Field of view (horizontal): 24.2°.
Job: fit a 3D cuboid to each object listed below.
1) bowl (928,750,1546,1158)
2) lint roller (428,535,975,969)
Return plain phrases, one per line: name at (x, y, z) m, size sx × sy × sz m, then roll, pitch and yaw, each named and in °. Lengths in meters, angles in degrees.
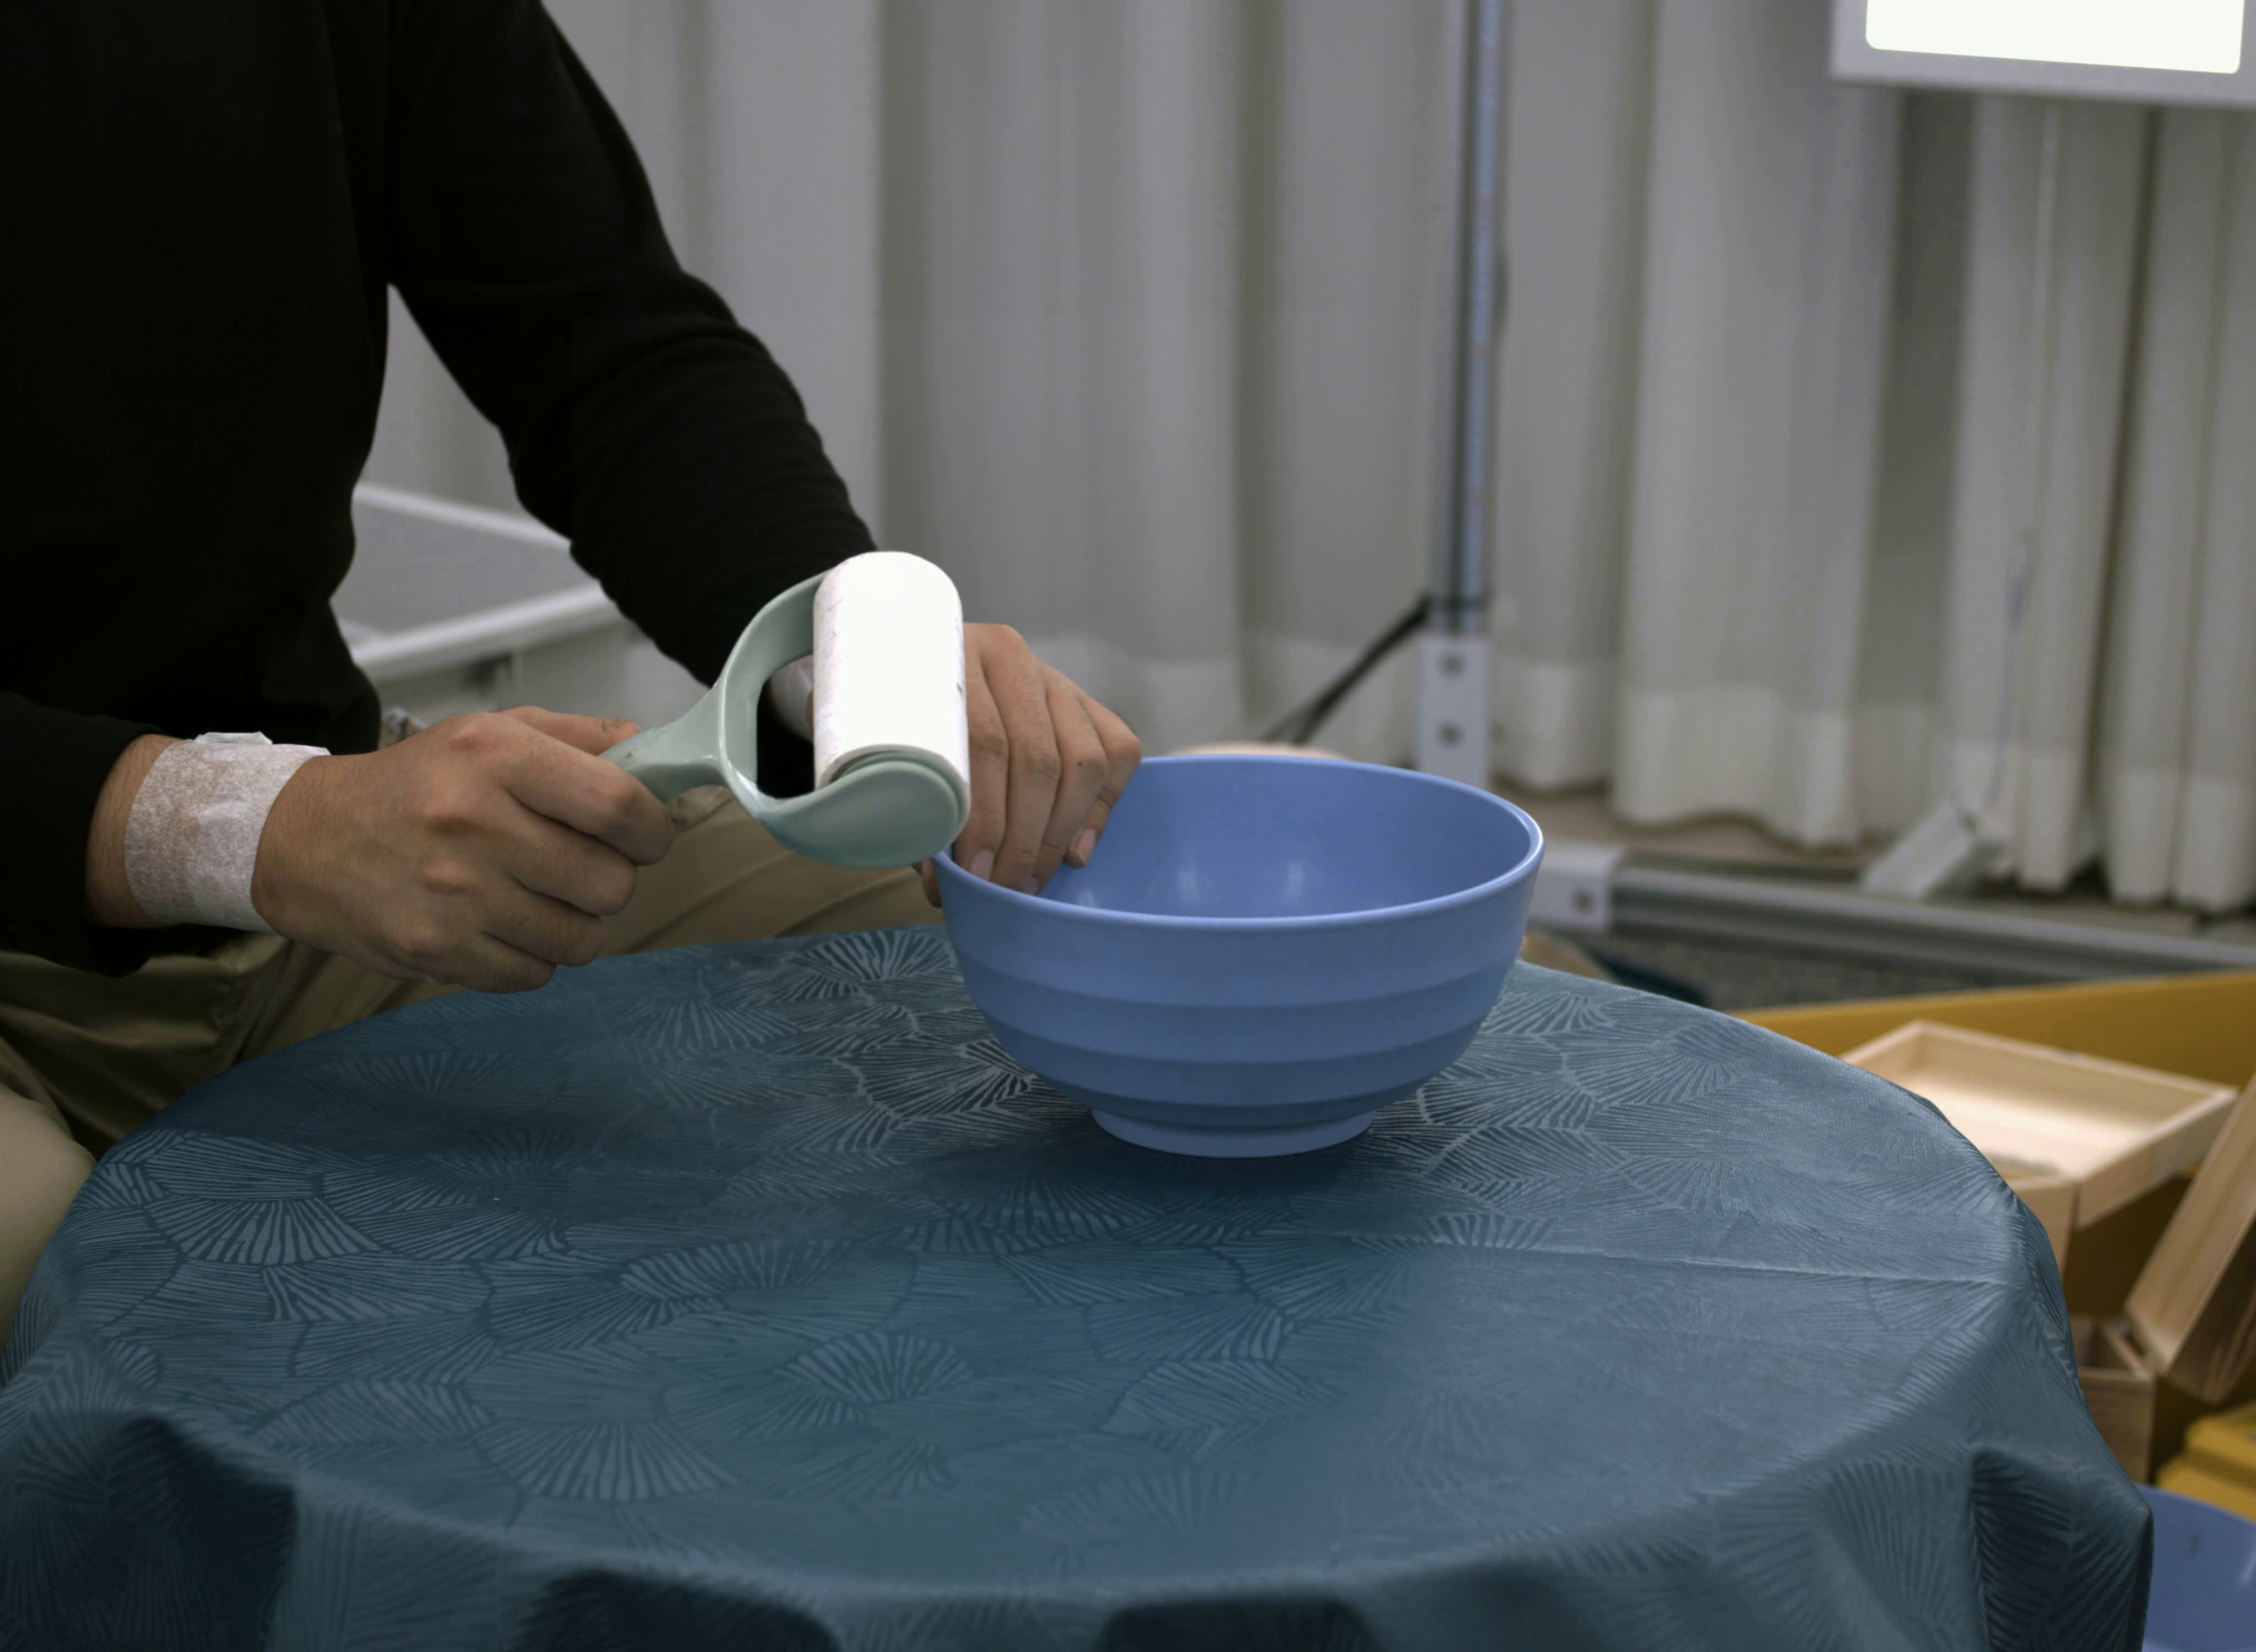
bowl at (0.034, 0.046, 1.680) m, size 0.196 × 0.096 × 0.195 m, roll 0°, pitch 17°, yaw 0°
lint roller at (-0.138, -0.014, 1.628) m, size 0.196 × 0.049 × 0.115 m, roll -23°, pitch 38°, yaw 14°
